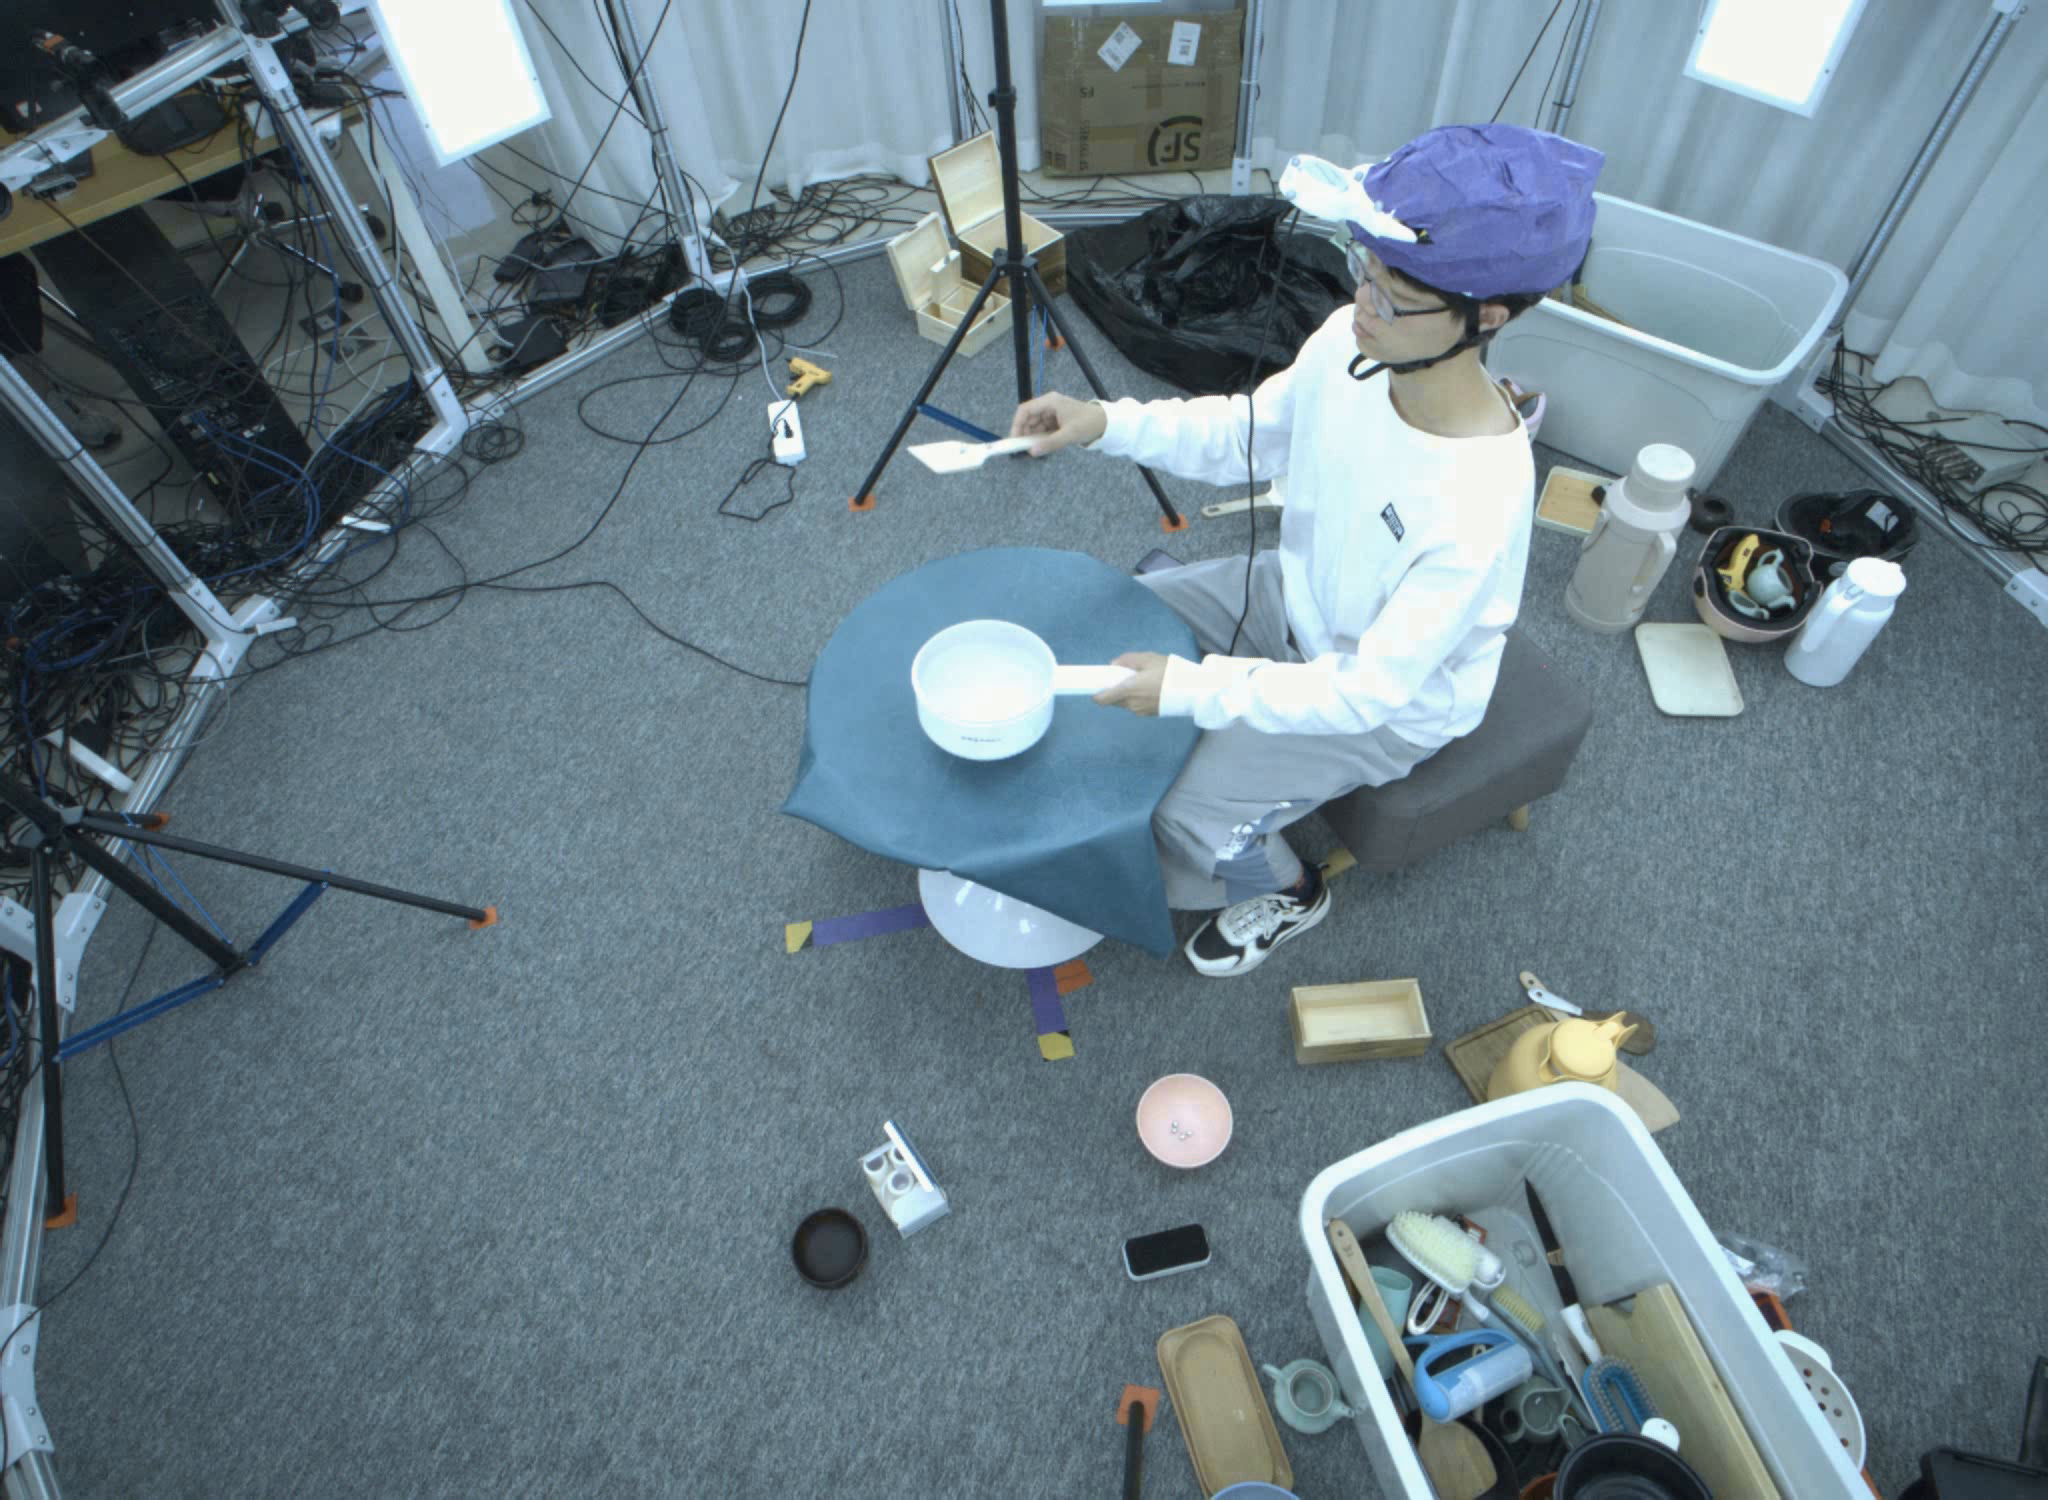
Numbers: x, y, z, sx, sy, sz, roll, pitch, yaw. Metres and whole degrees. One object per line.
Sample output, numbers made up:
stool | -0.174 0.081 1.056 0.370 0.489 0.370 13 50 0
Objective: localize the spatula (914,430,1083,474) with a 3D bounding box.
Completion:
spatula | -0.027 -0.426 1.706 0.297 0.011 0.071 -22 53 -40

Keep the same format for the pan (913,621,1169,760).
pan | 0.023 -0.078 1.732 0.356 0.103 0.199 1 49 -3
